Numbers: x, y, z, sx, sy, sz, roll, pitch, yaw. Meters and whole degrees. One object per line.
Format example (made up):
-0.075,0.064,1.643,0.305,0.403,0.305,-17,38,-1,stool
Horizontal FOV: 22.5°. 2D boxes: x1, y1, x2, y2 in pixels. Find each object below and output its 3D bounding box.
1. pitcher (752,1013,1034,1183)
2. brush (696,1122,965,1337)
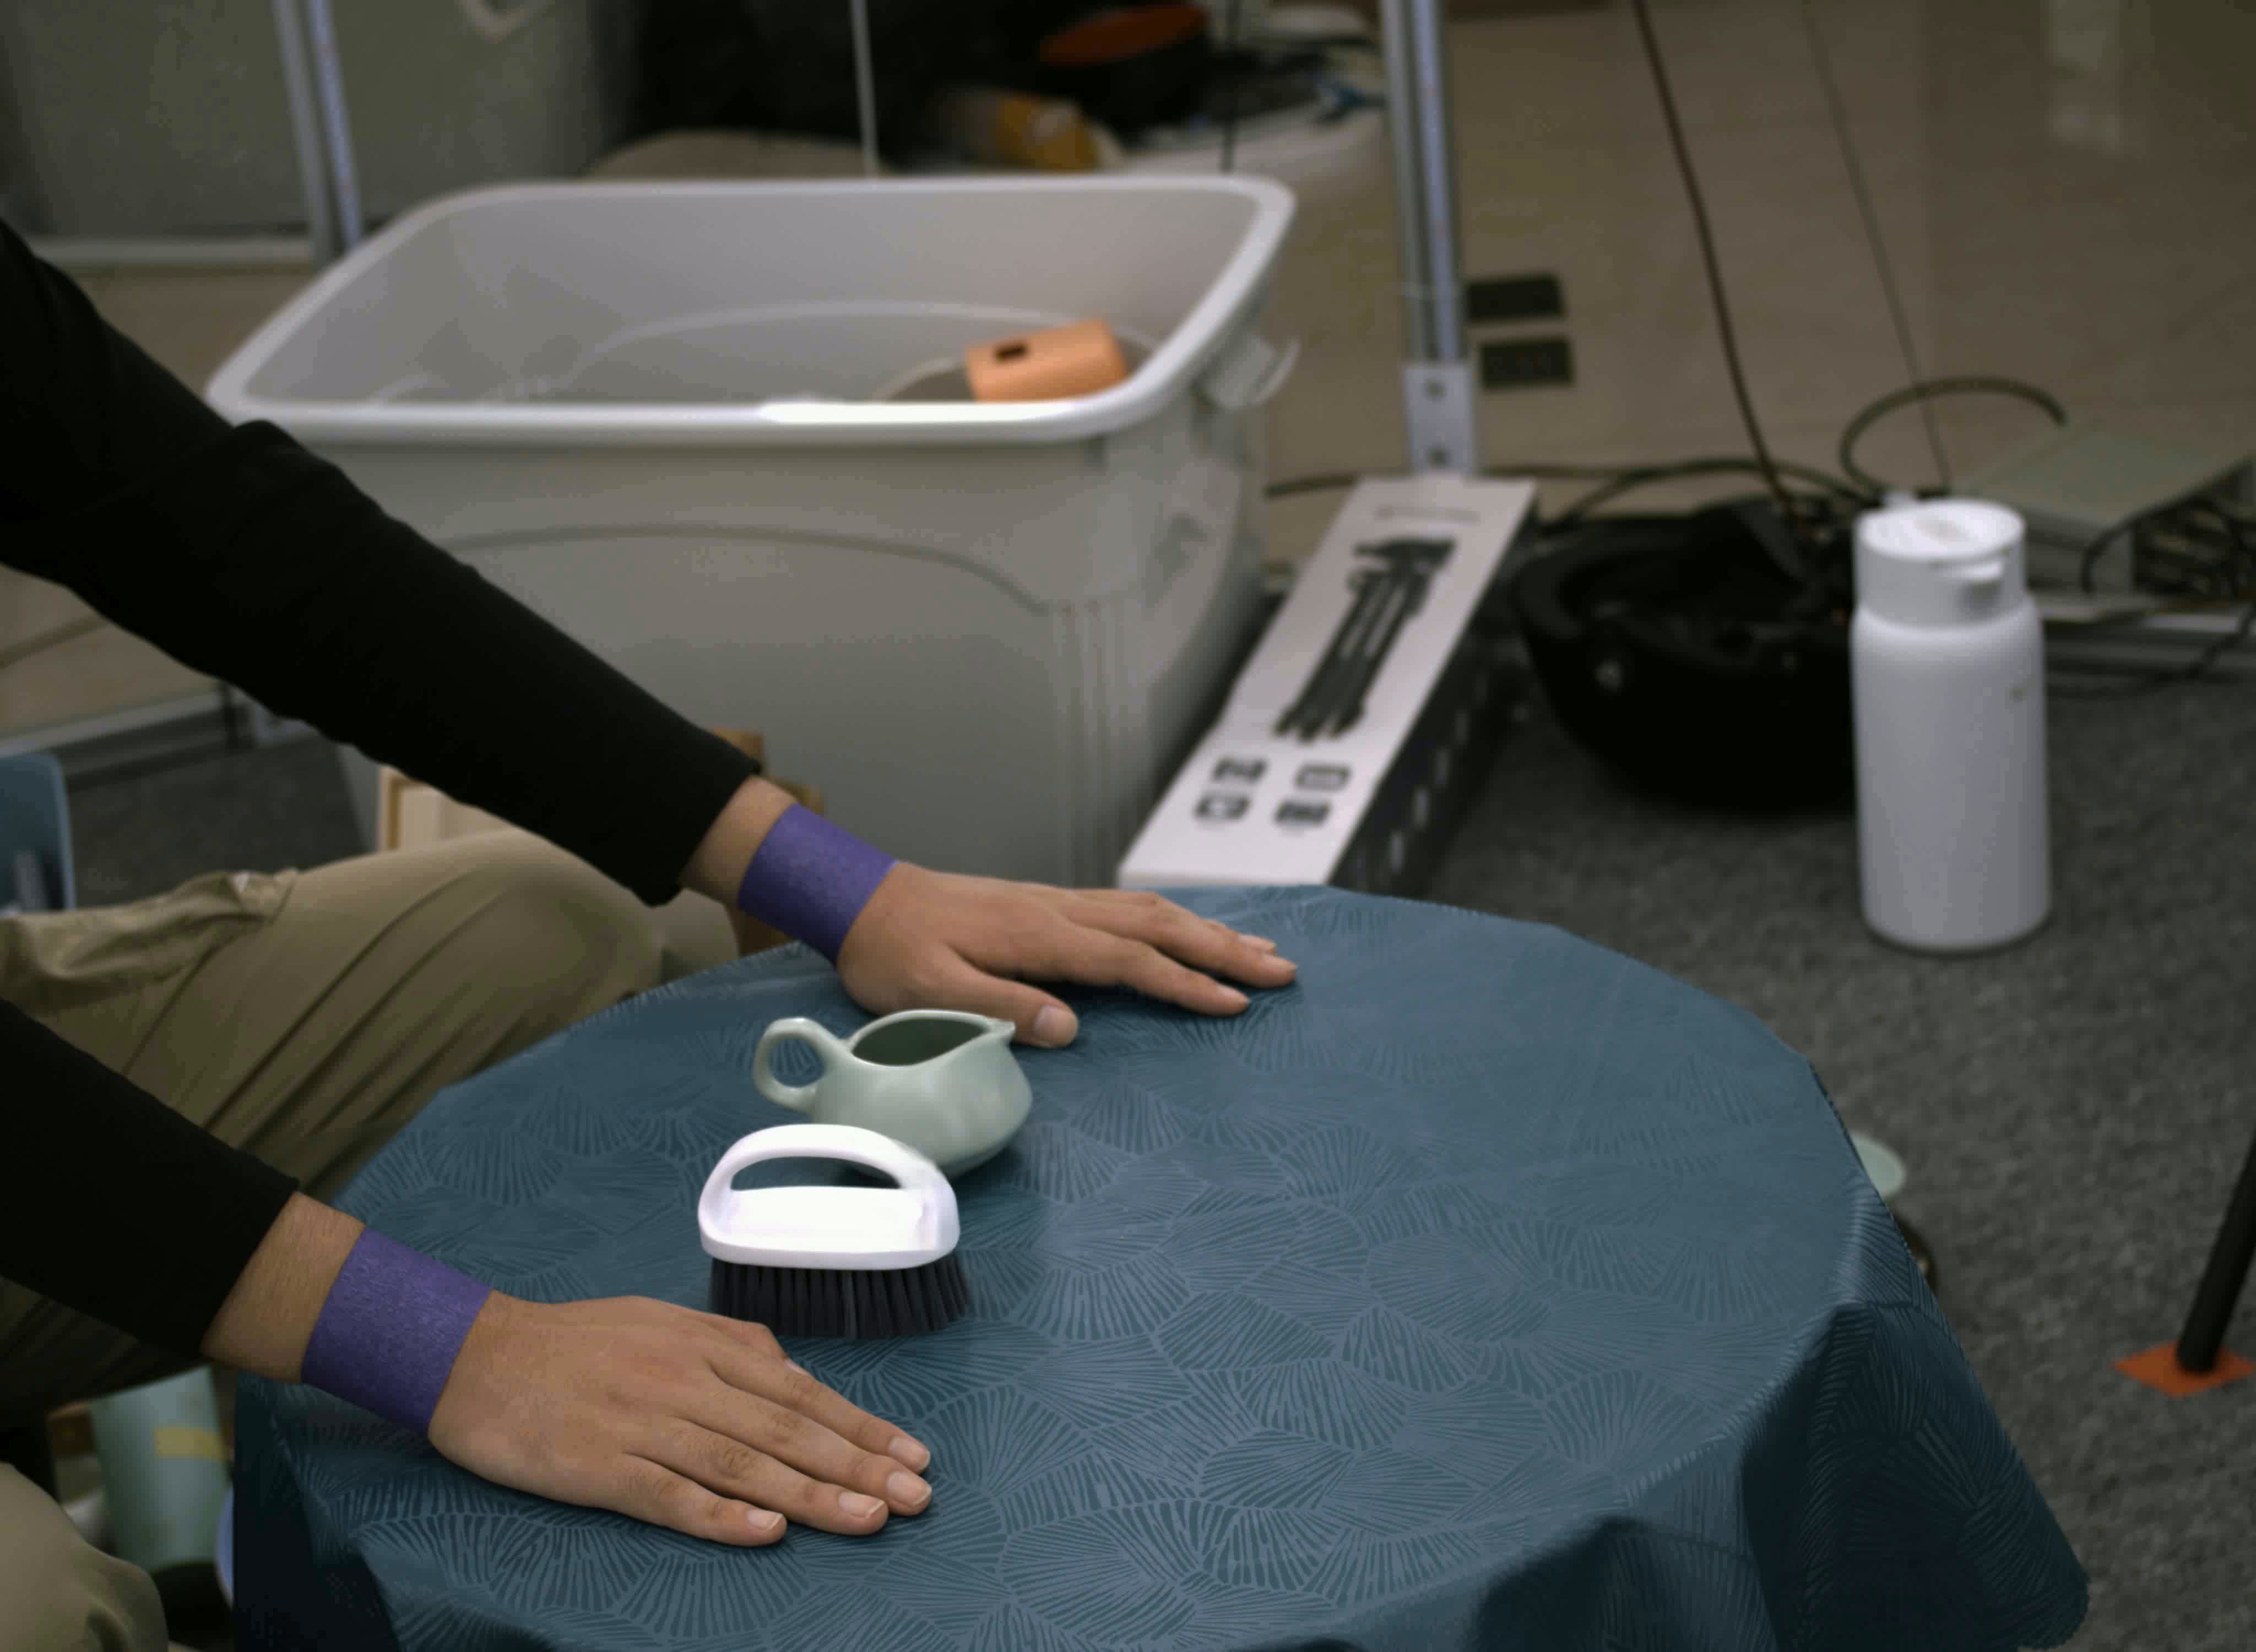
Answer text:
-0.091,0.103,2.181,0.108,0.061,0.085,-5,24,11,pitcher
-0.111,0.143,2.076,0.099,0.073,0.049,3,27,18,brush
